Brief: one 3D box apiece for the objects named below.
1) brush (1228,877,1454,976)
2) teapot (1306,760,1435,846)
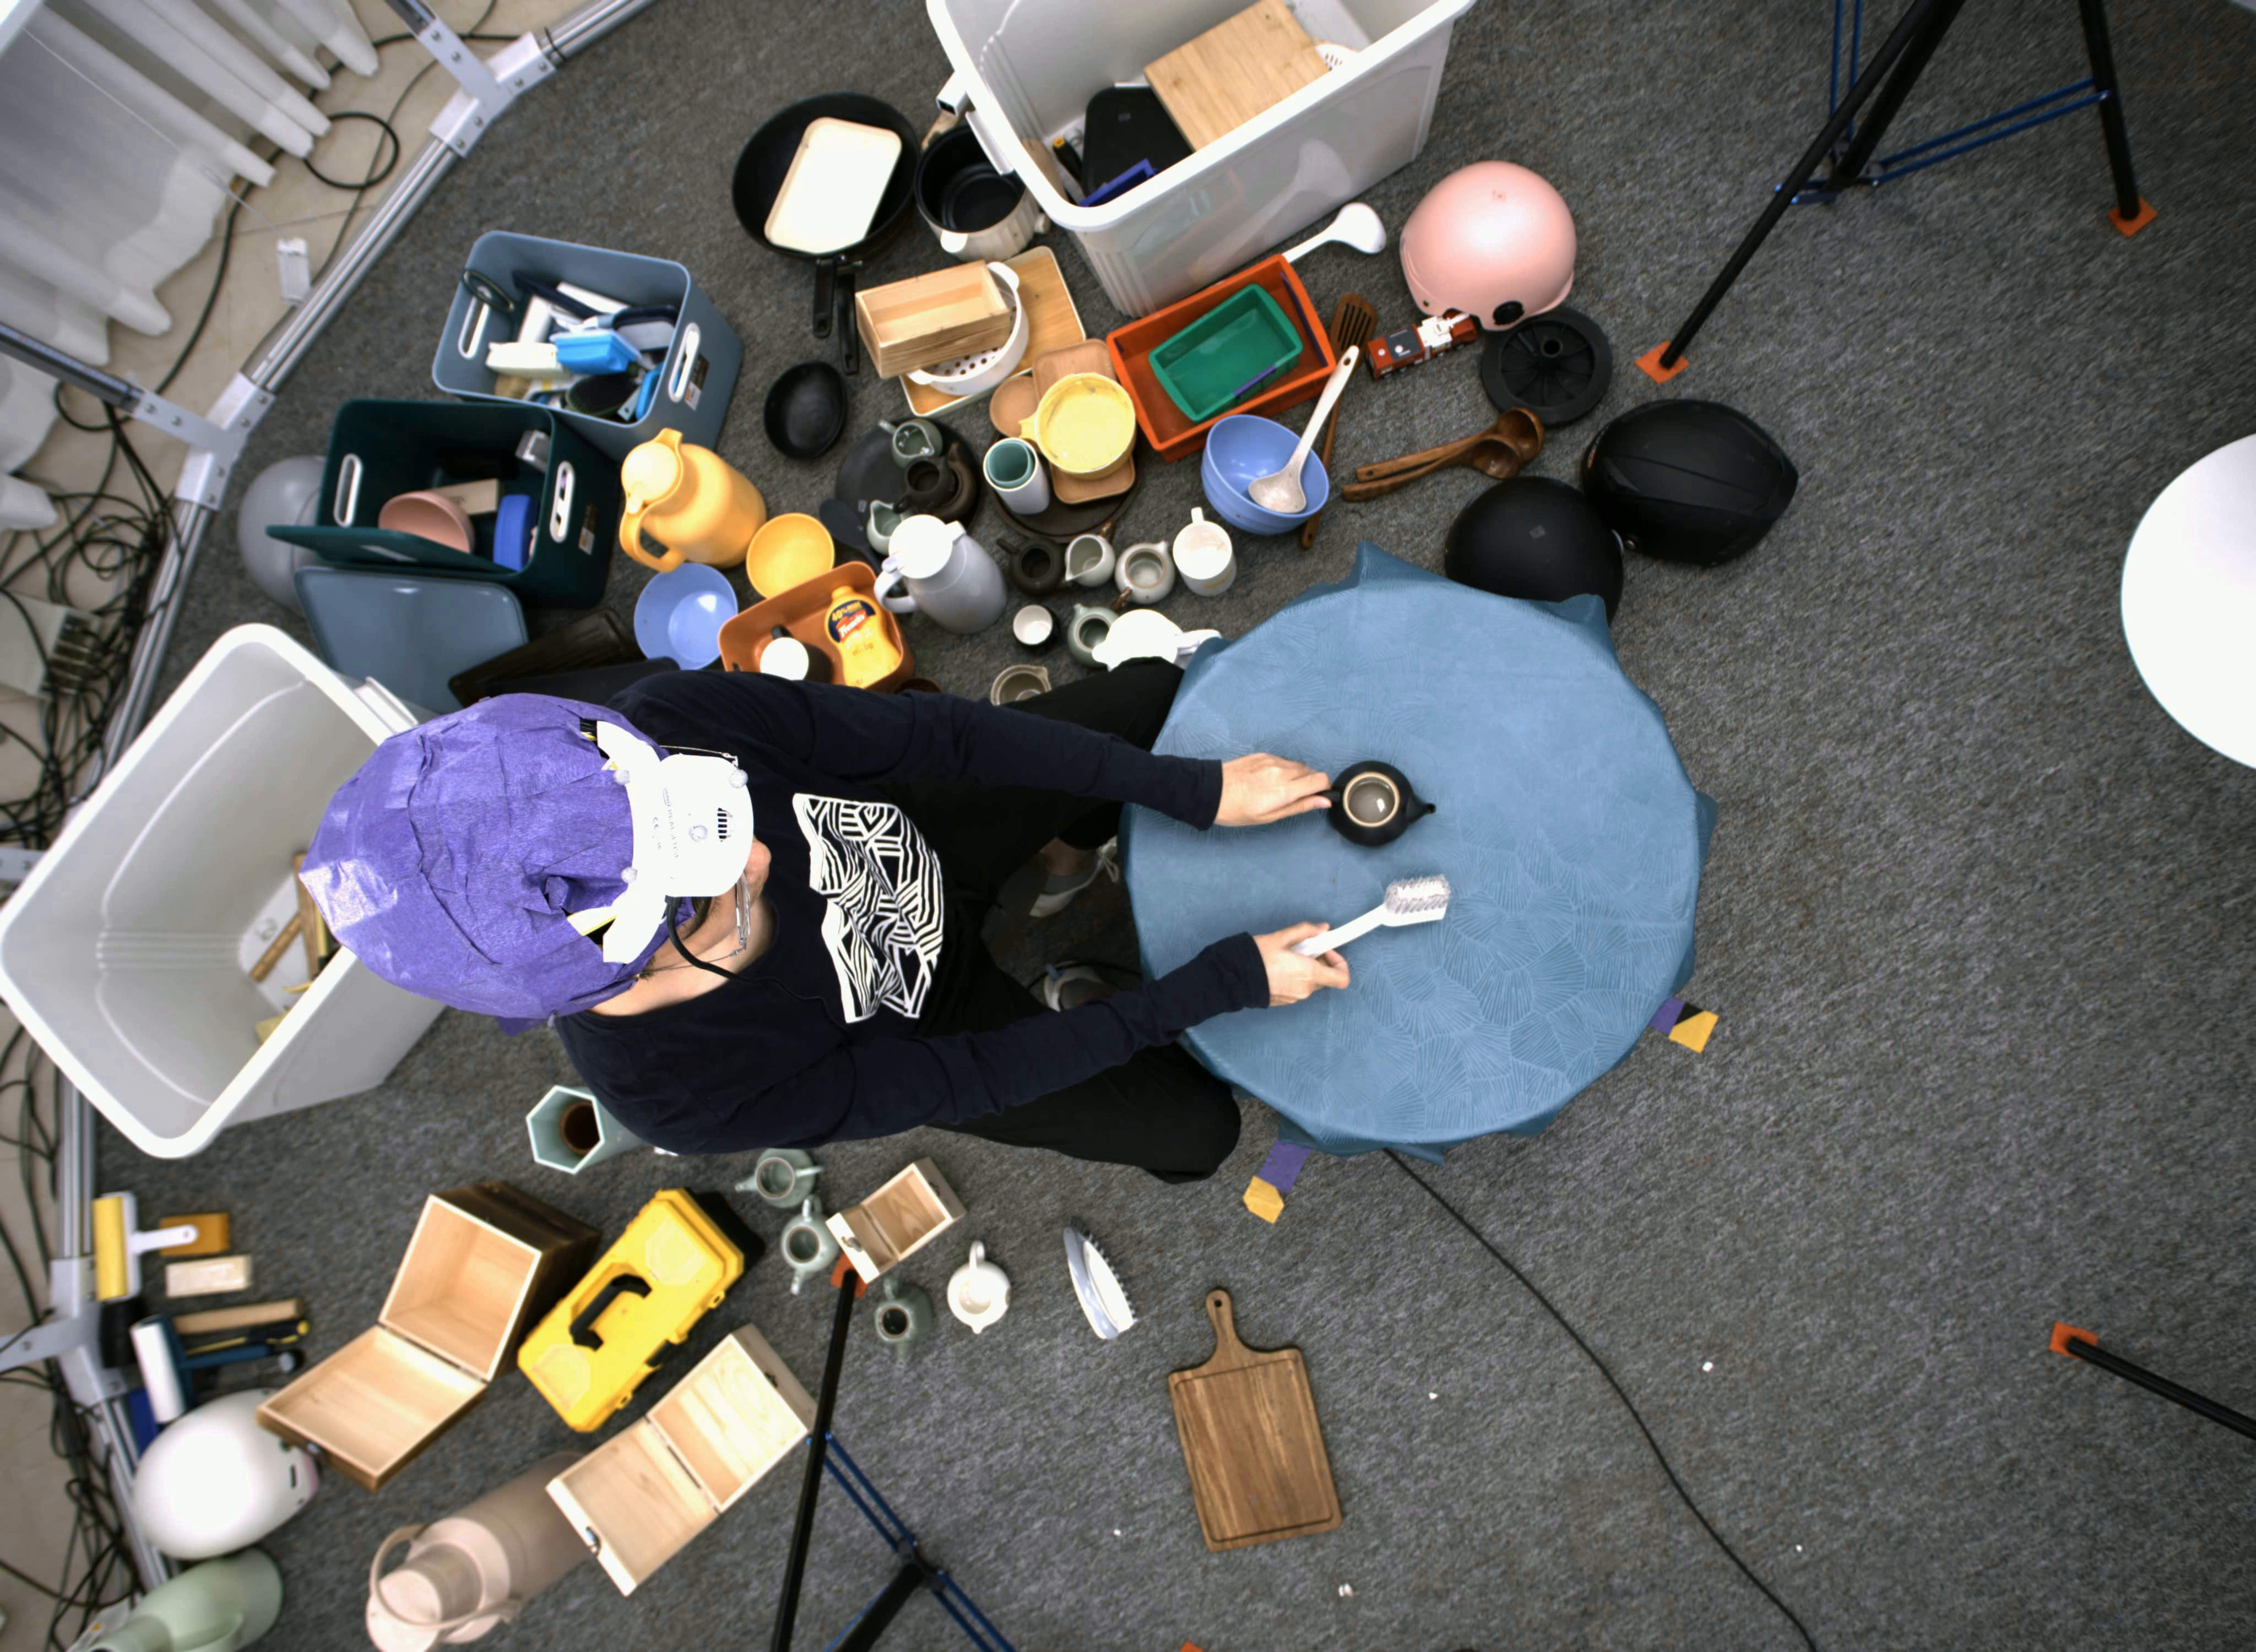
[{"bbox_3d":[0.217,0.102,1.431,0.244,0.051,0.033,-17,53,5],"label":"brush"},{"bbox_3d":[0.252,-0.026,1.440,0.133,0.053,0.090,7,85,11],"label":"teapot"}]
